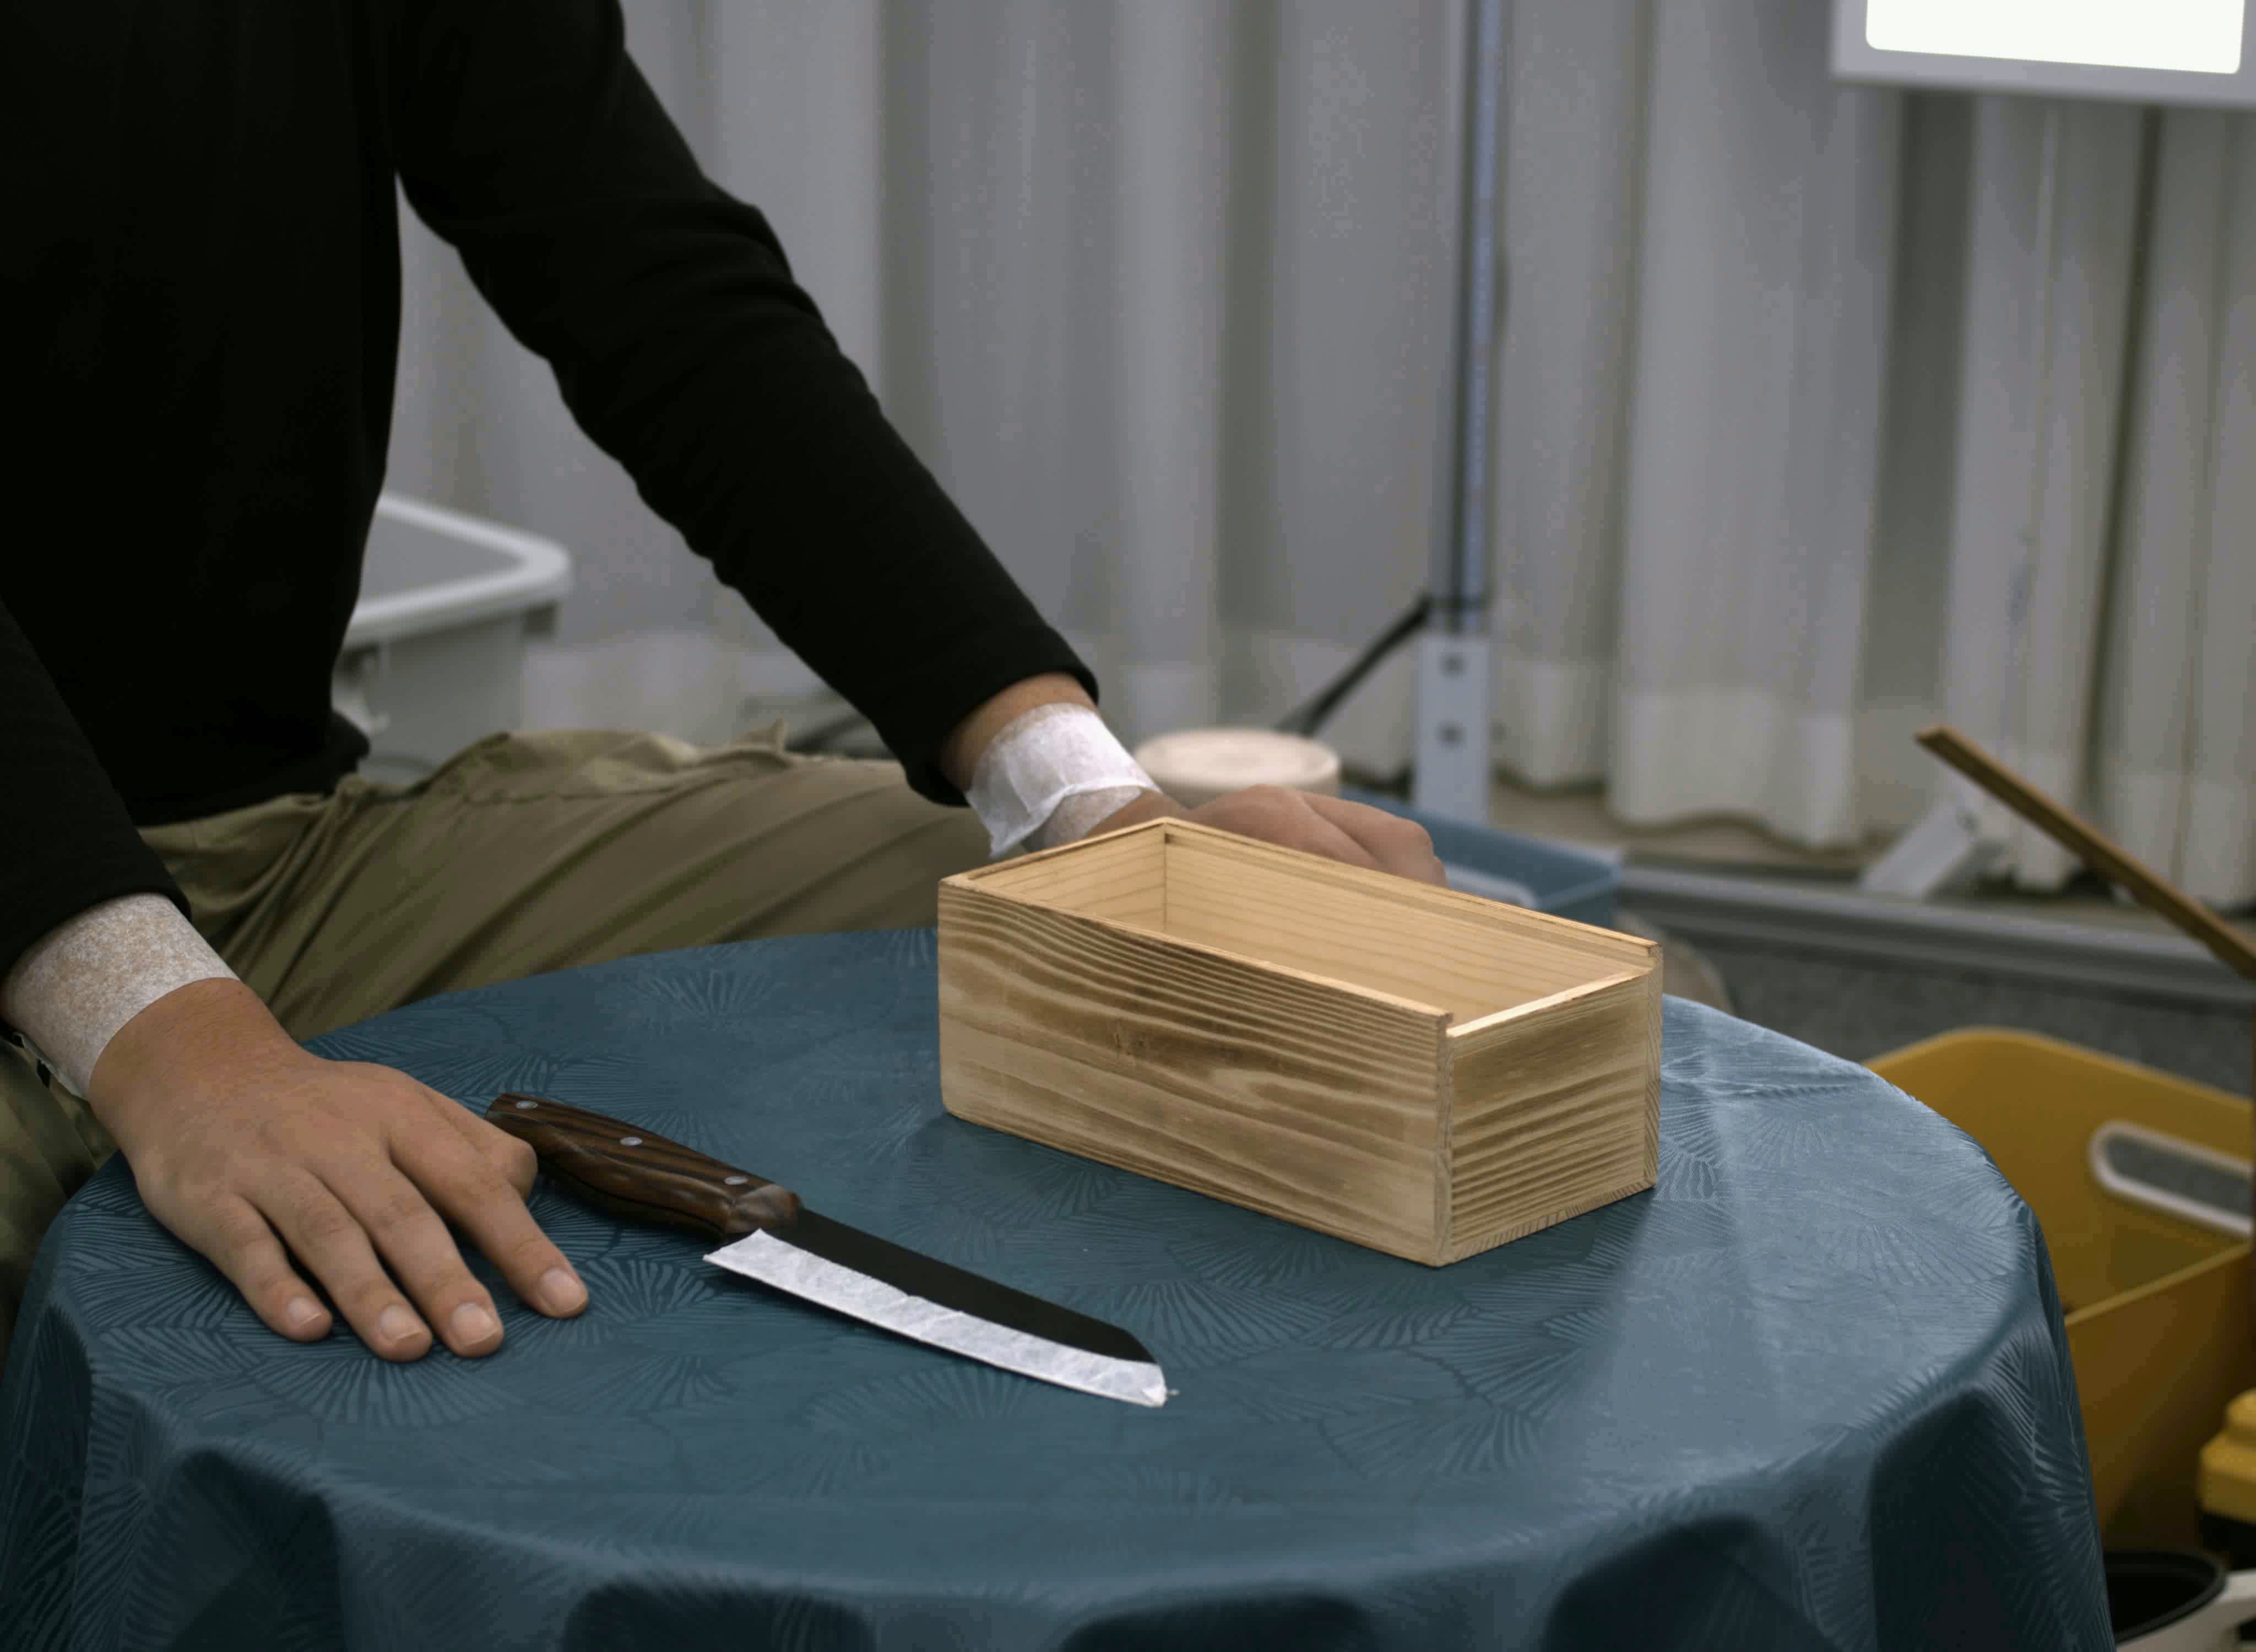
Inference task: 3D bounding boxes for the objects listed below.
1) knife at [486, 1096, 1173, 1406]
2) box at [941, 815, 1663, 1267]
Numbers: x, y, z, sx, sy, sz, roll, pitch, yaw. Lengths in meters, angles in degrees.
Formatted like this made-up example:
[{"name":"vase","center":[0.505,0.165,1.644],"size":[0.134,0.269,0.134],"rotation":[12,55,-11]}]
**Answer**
[{"name":"knife","center":[-0.092,0.125,1.543],"size":[0.285,0.020,0.050],"rotation":[18,28,40]},{"name":"box","center":[0.051,0.063,1.650],"size":[0.208,0.081,0.108],"rotation":[15,21,41]}]
